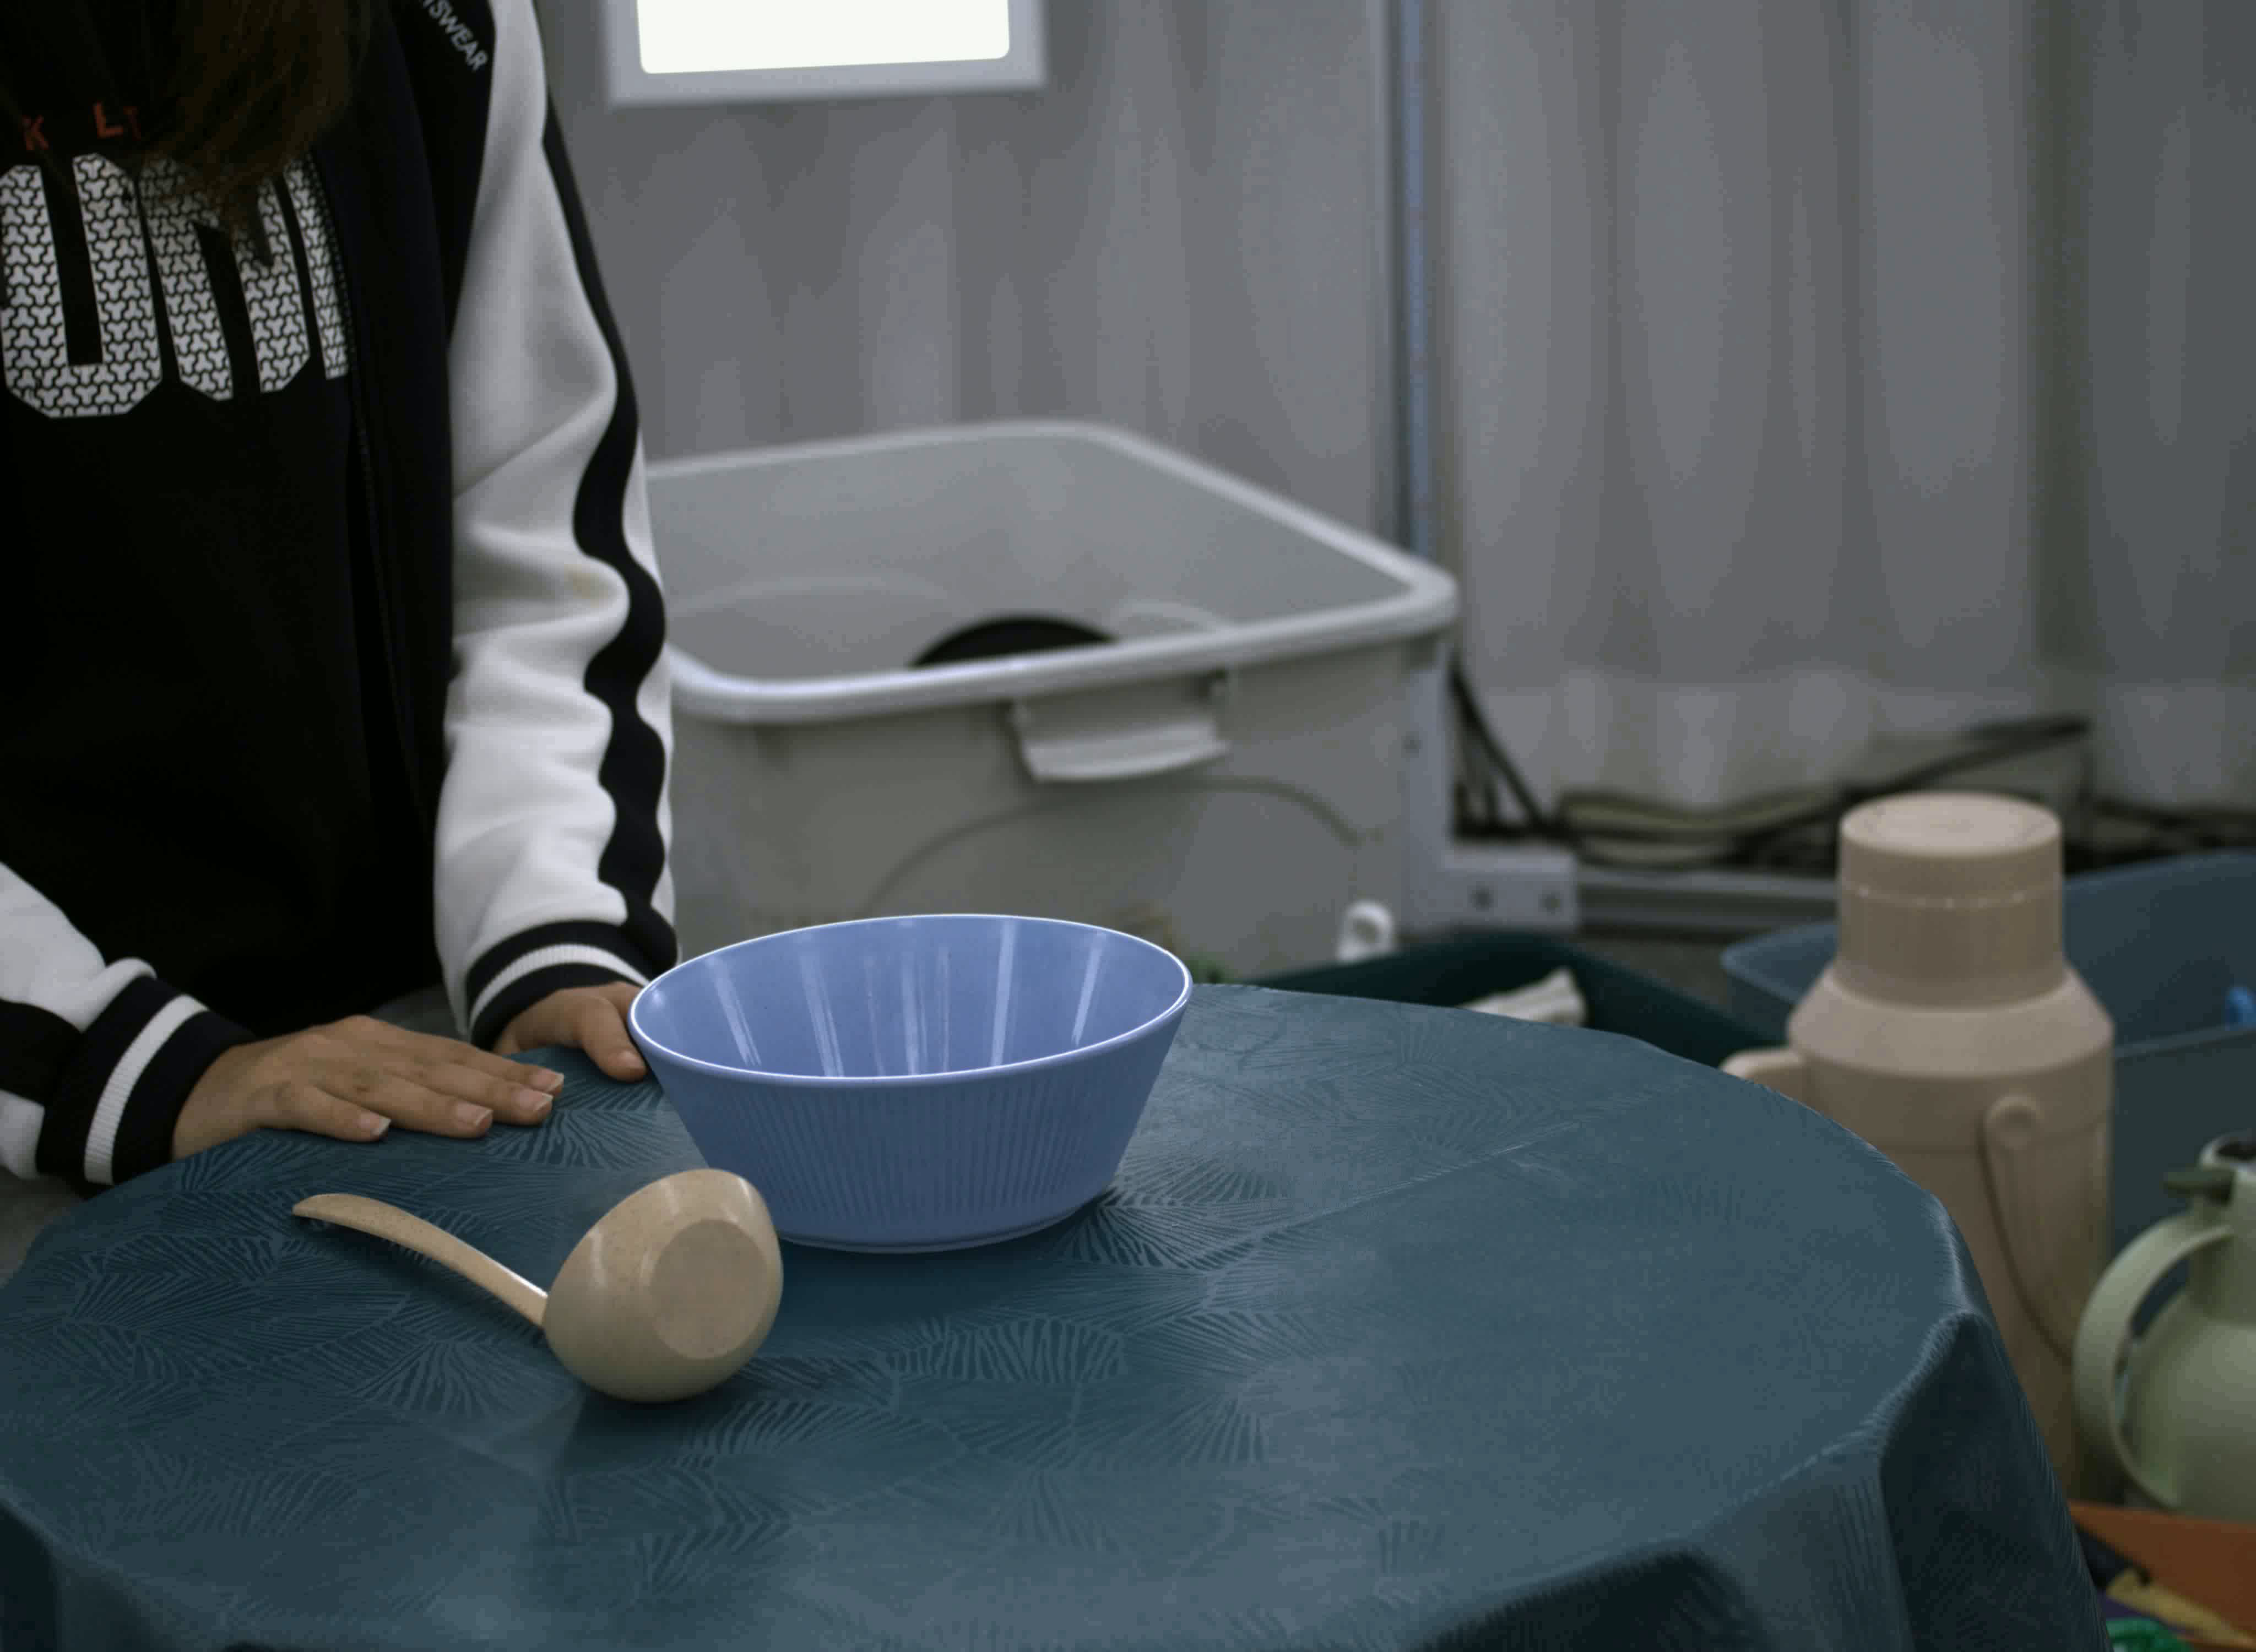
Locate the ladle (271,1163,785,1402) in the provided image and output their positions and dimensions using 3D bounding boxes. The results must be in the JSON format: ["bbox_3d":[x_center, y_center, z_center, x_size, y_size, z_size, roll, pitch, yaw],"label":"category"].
[{"bbox_3d":[-0.191,0.111,1.625,0.072,0.072,0.256,-12,17,-35],"label":"ladle"}]

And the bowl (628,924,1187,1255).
[{"bbox_3d":[-0.068,0.084,1.709,0.175,0.070,0.177,-2,14,0],"label":"bowl"}]
